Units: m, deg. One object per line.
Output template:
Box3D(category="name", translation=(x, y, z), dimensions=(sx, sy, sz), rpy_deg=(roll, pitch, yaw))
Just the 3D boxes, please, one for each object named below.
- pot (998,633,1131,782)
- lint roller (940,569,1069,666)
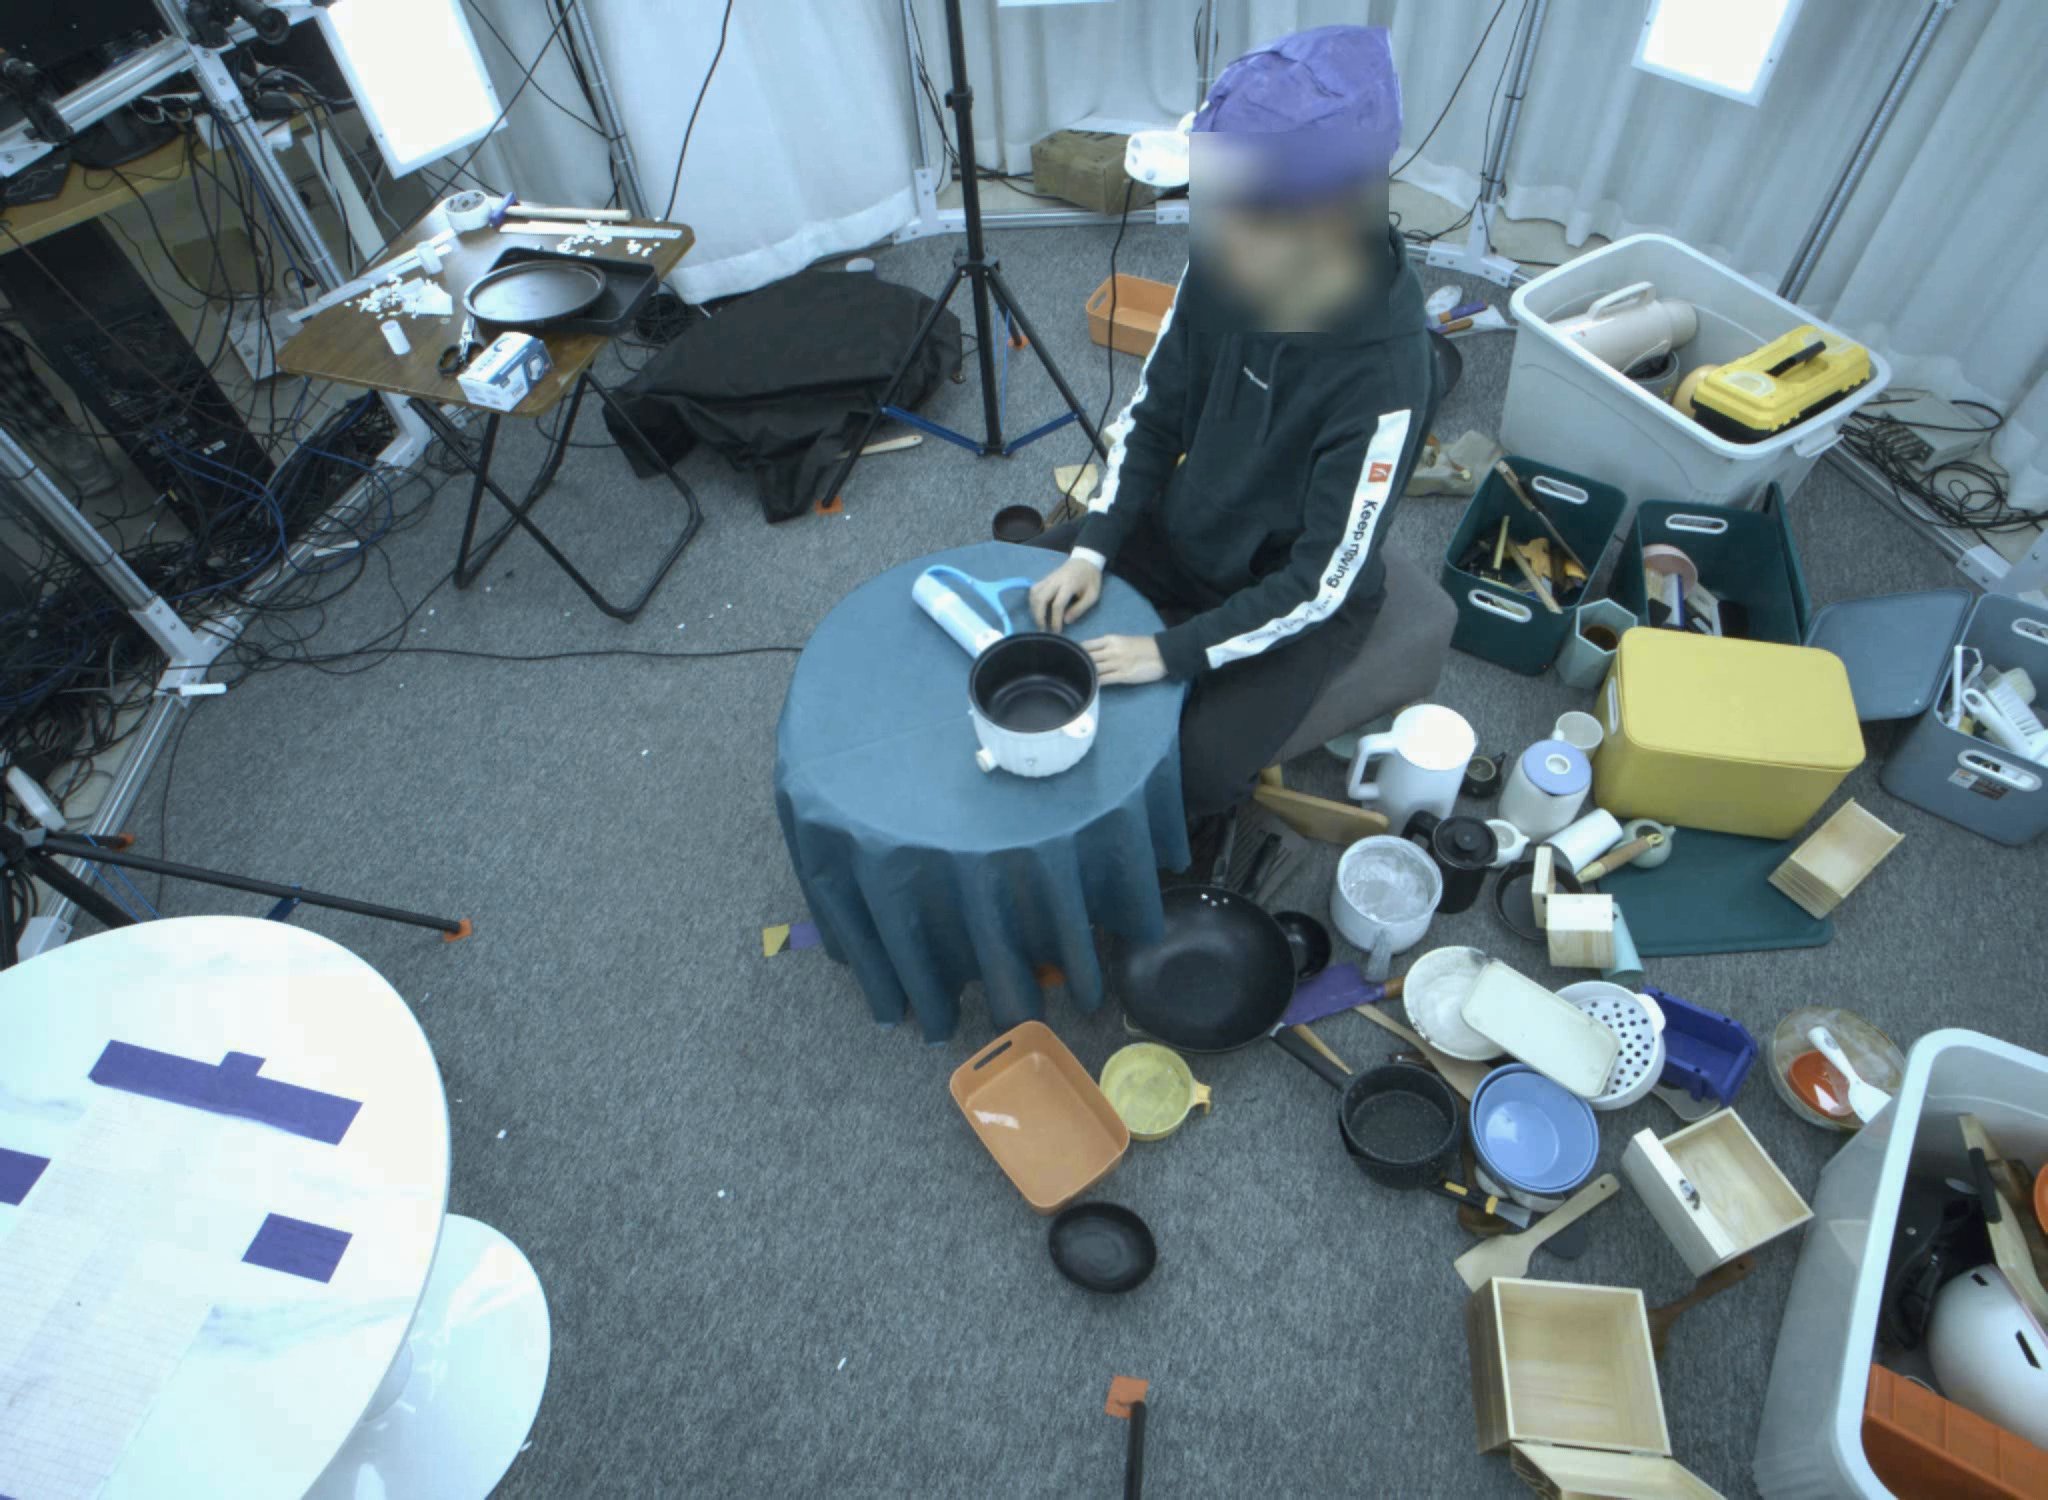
Box3D(category="pot", translation=(0.054, -0.047, 1.729), dimensions=(0.192, 0.144, 0.236), rpy_deg=(-32, 58, -22))
Box3D(category="lint roller", translation=(-0.008, -0.226, 1.910), dimensions=(0.181, 0.069, 0.224), rpy_deg=(-36, 59, -20))
